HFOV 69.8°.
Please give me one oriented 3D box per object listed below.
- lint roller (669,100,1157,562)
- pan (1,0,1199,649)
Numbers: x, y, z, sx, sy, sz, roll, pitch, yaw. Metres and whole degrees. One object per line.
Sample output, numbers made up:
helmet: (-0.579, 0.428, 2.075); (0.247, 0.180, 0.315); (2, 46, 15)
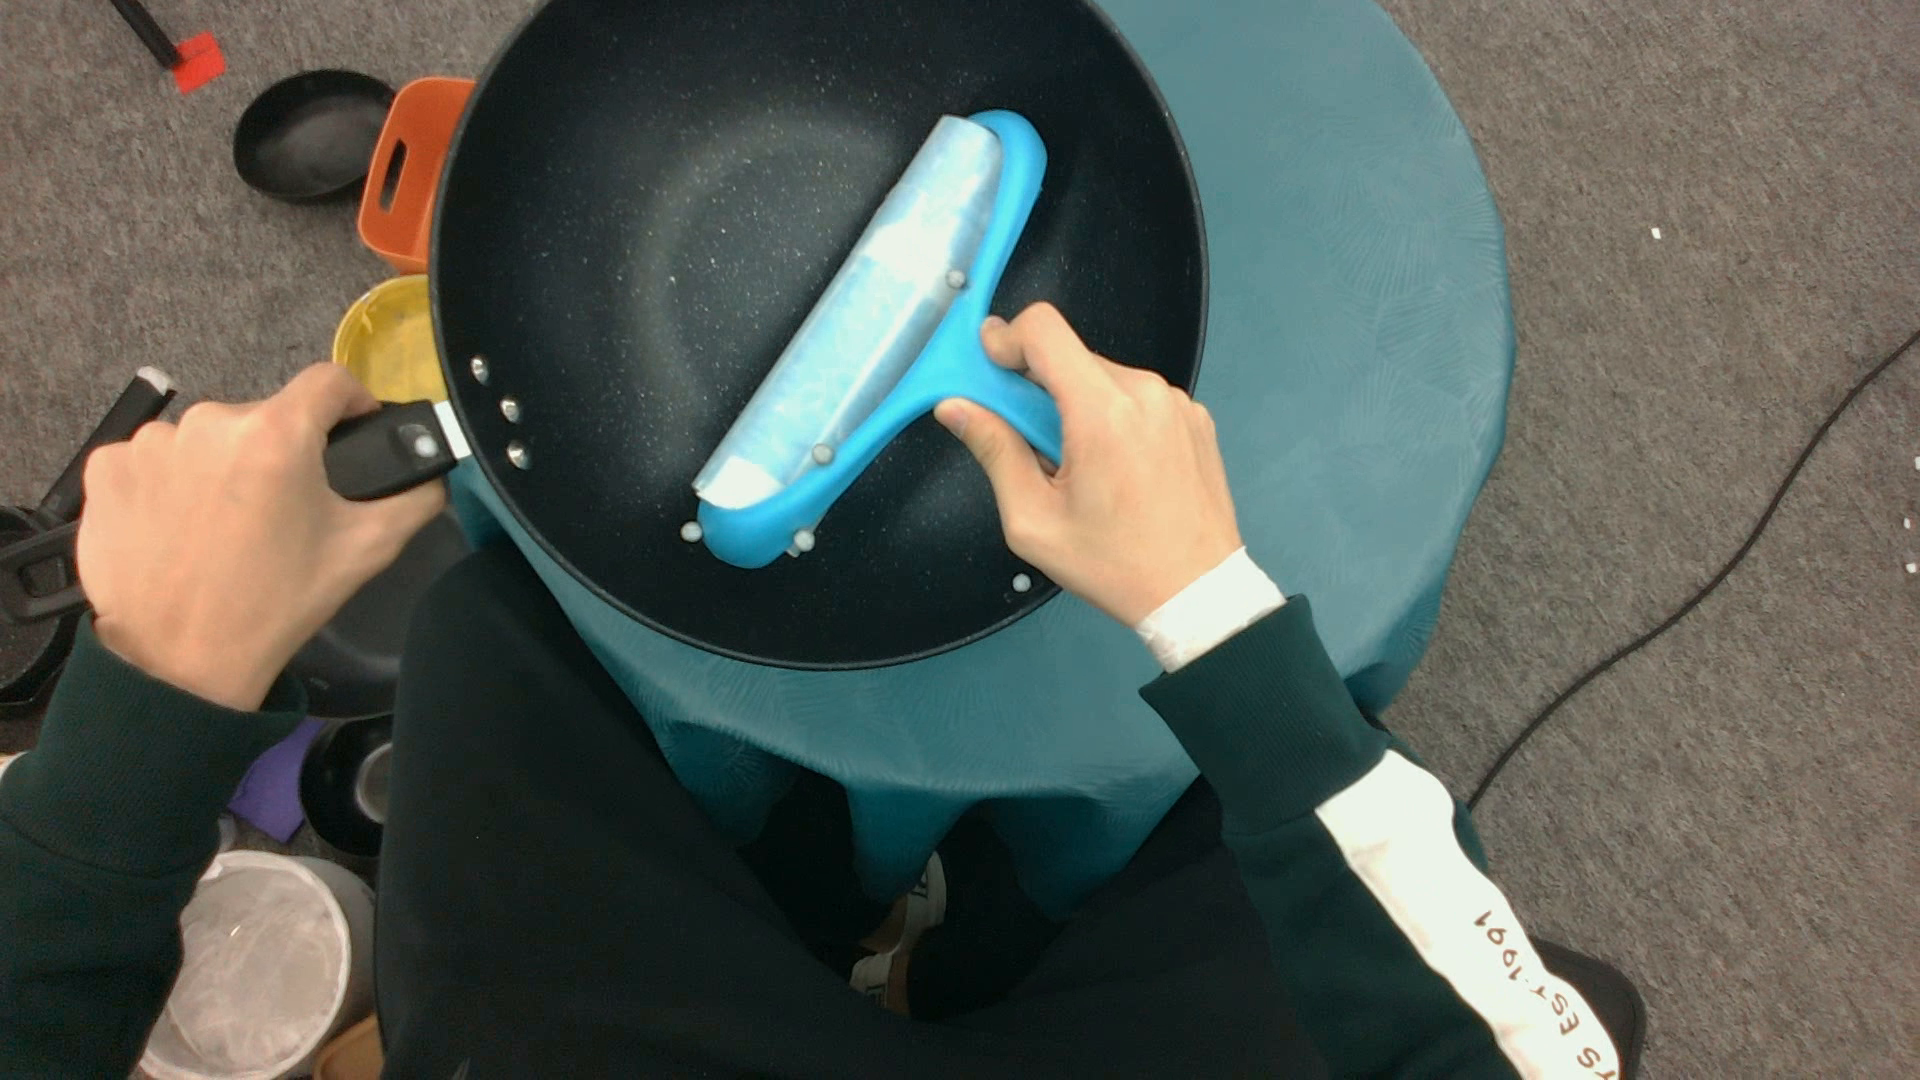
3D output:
lint roller: (-0.002, -0.069, 0.566); (0.180, 0.068, 0.229); (25, 79, 25)
pan: (-0.133, -0.079, 0.565); (0.477, 0.111, 0.310); (-23, 102, -8)
